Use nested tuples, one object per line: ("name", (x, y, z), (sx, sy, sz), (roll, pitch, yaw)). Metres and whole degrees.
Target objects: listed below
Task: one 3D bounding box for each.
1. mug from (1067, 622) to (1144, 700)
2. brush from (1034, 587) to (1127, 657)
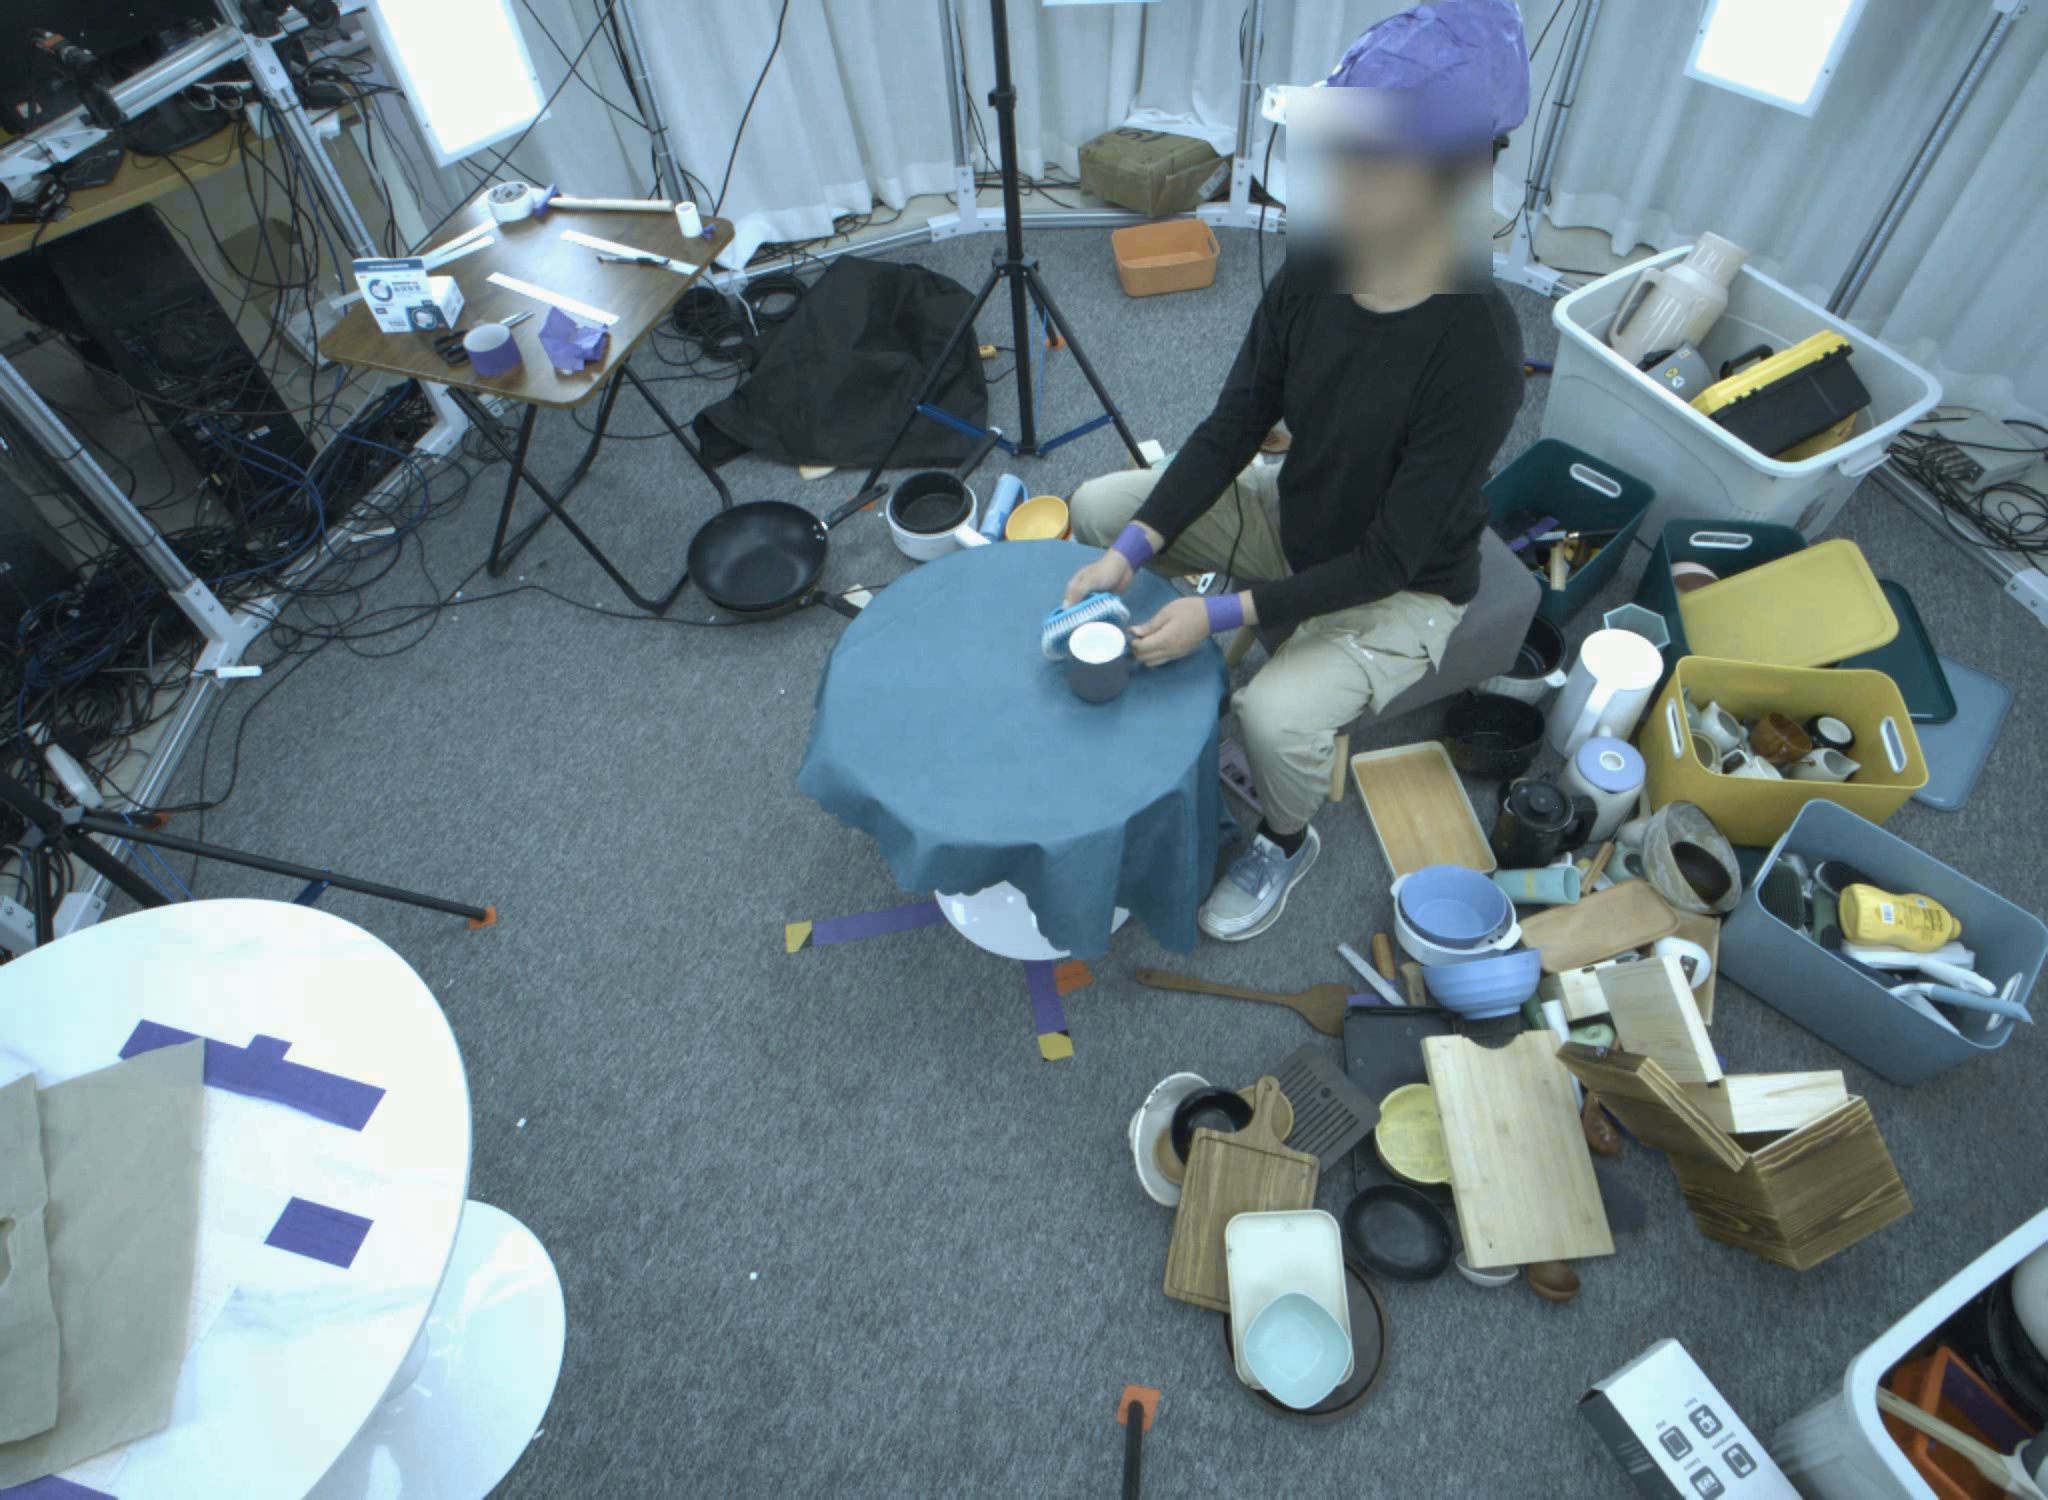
("mug", (0.122, -0.138, 1.825), (0.124, 0.091, 0.092), (-25, 58, -12))
("brush", (0.081, -0.201, 1.844), (0.141, 0.086, 0.063), (-27, 58, 8))
